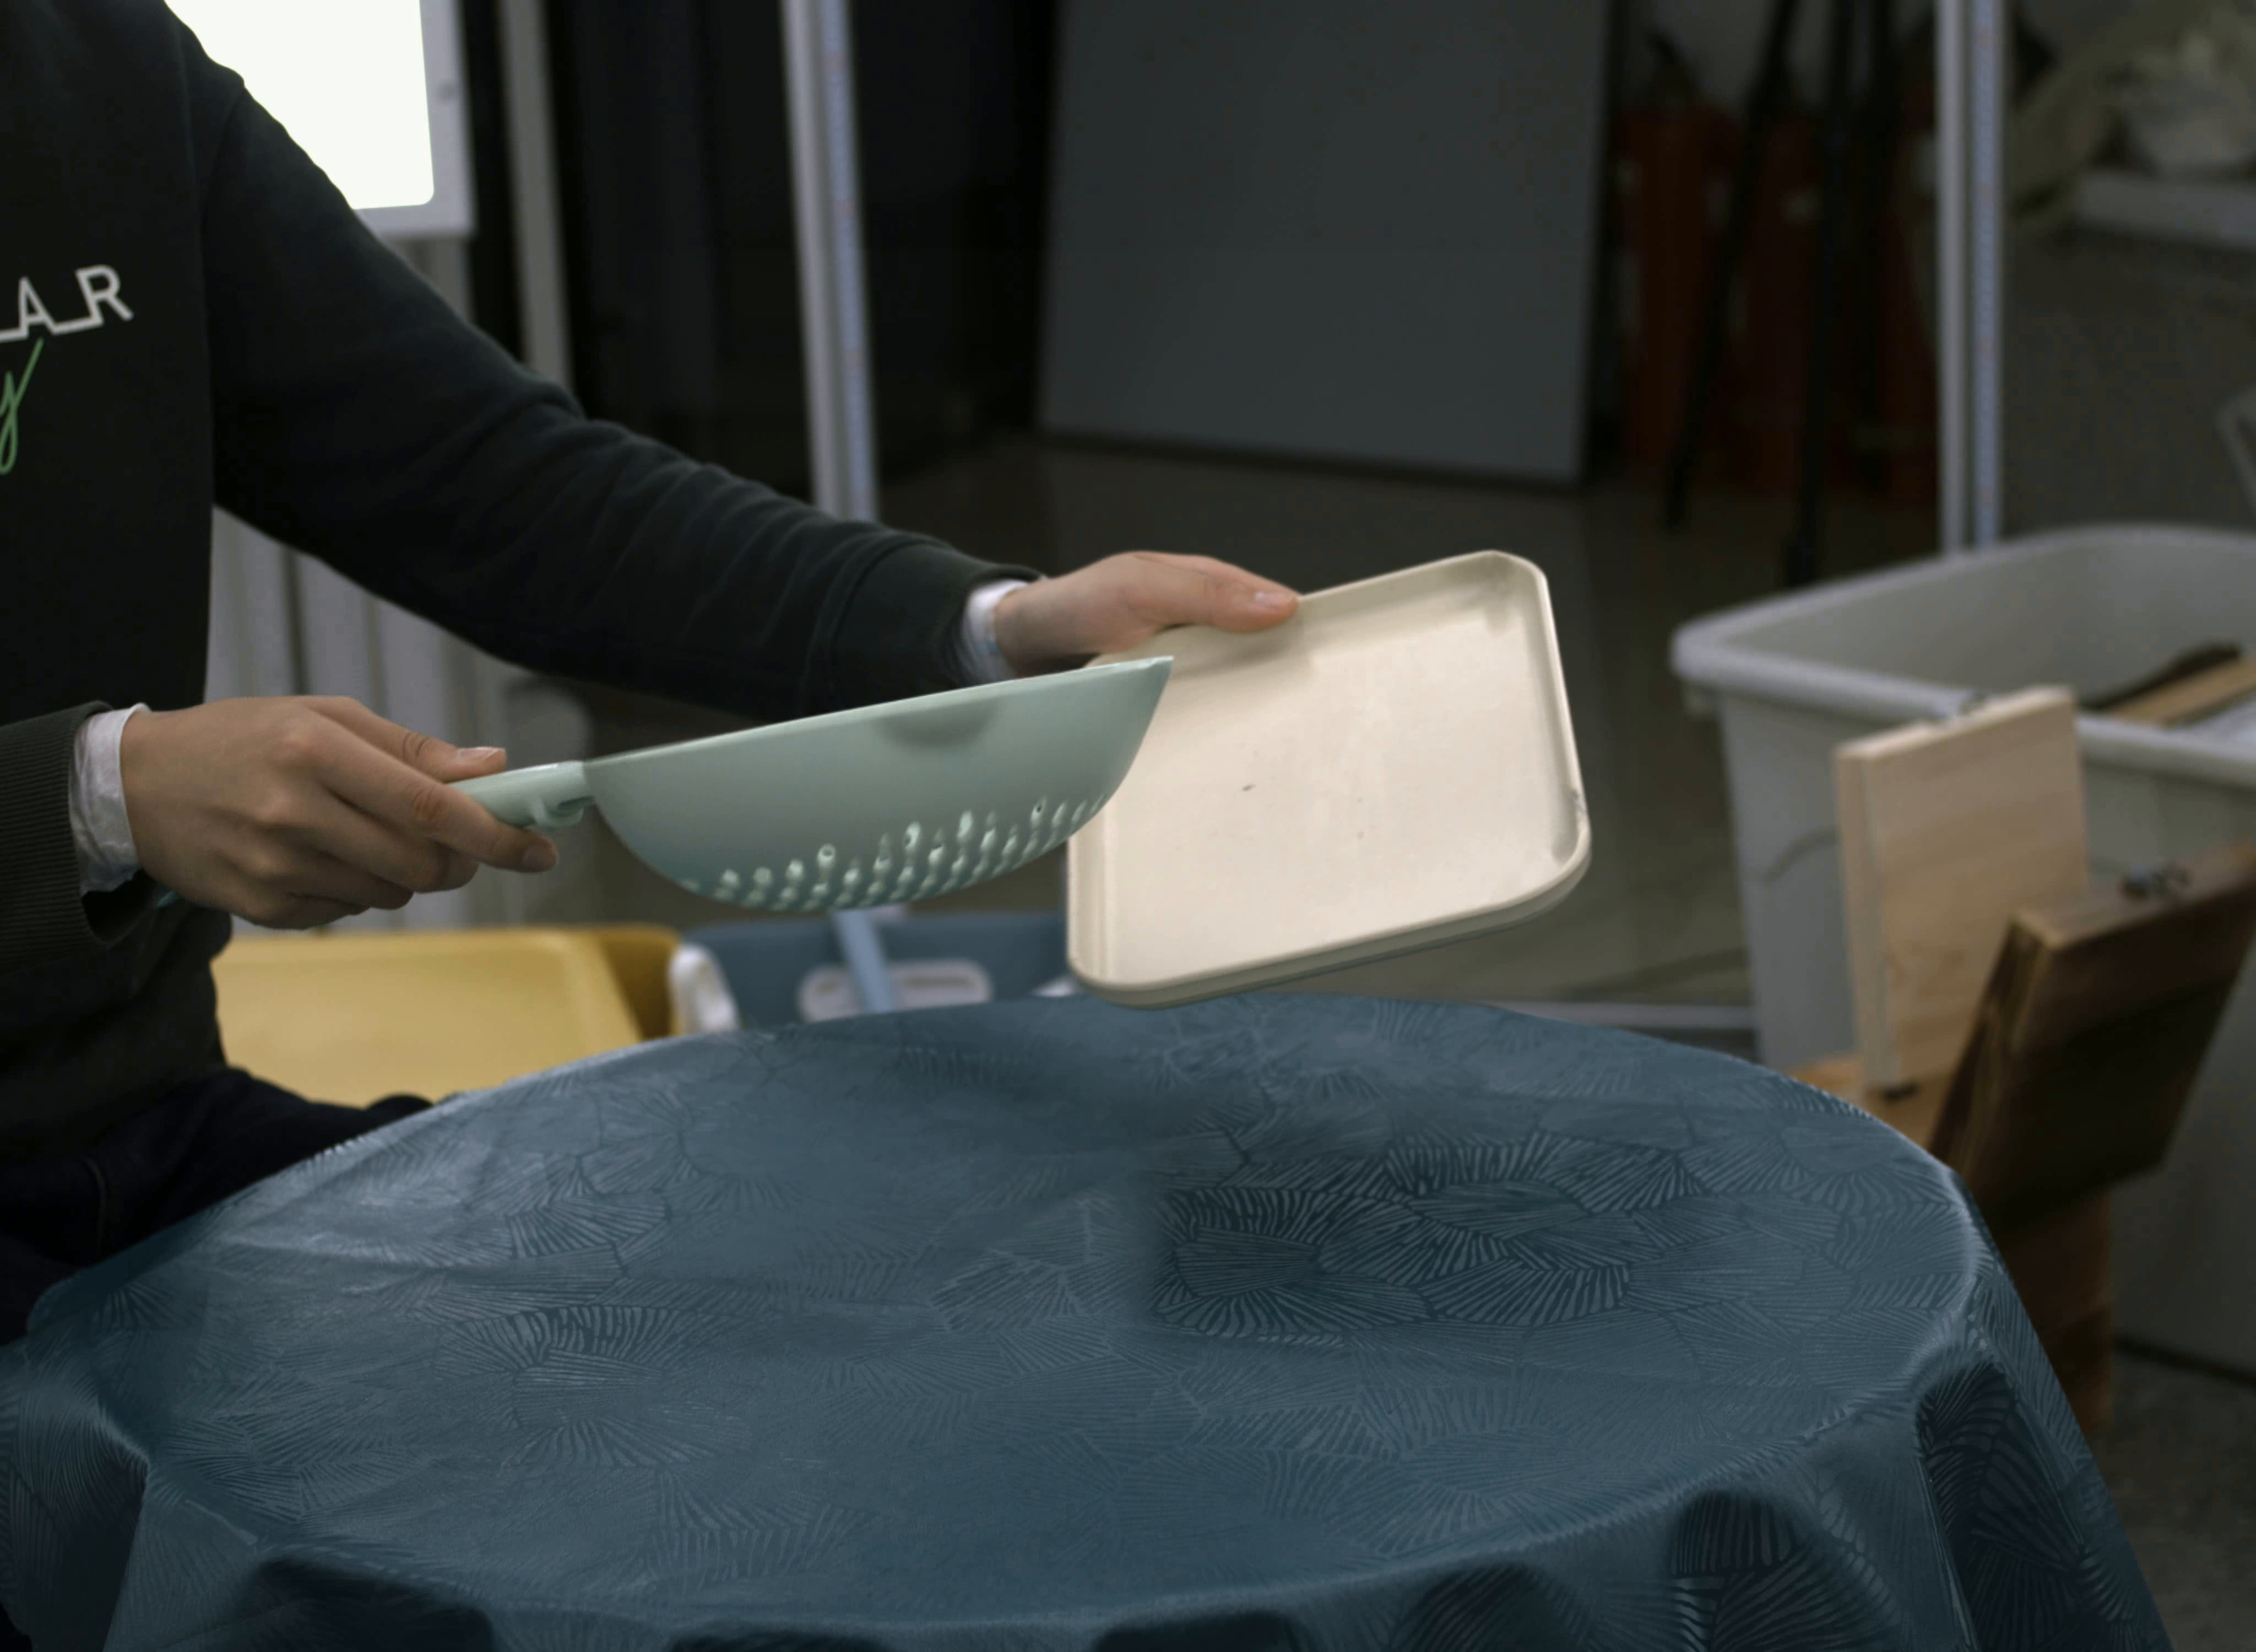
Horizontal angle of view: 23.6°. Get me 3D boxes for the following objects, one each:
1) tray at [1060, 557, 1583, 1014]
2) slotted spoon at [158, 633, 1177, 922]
[{"bbox_3d":[0.060,-0.014,1.754,0.170,0.017,0.240,-15,27,8],"label":"tray"},{"bbox_3d":[-0.153,-0.011,1.619,0.360,0.076,0.166,-1,4,31],"label":"slotted spoon"}]
